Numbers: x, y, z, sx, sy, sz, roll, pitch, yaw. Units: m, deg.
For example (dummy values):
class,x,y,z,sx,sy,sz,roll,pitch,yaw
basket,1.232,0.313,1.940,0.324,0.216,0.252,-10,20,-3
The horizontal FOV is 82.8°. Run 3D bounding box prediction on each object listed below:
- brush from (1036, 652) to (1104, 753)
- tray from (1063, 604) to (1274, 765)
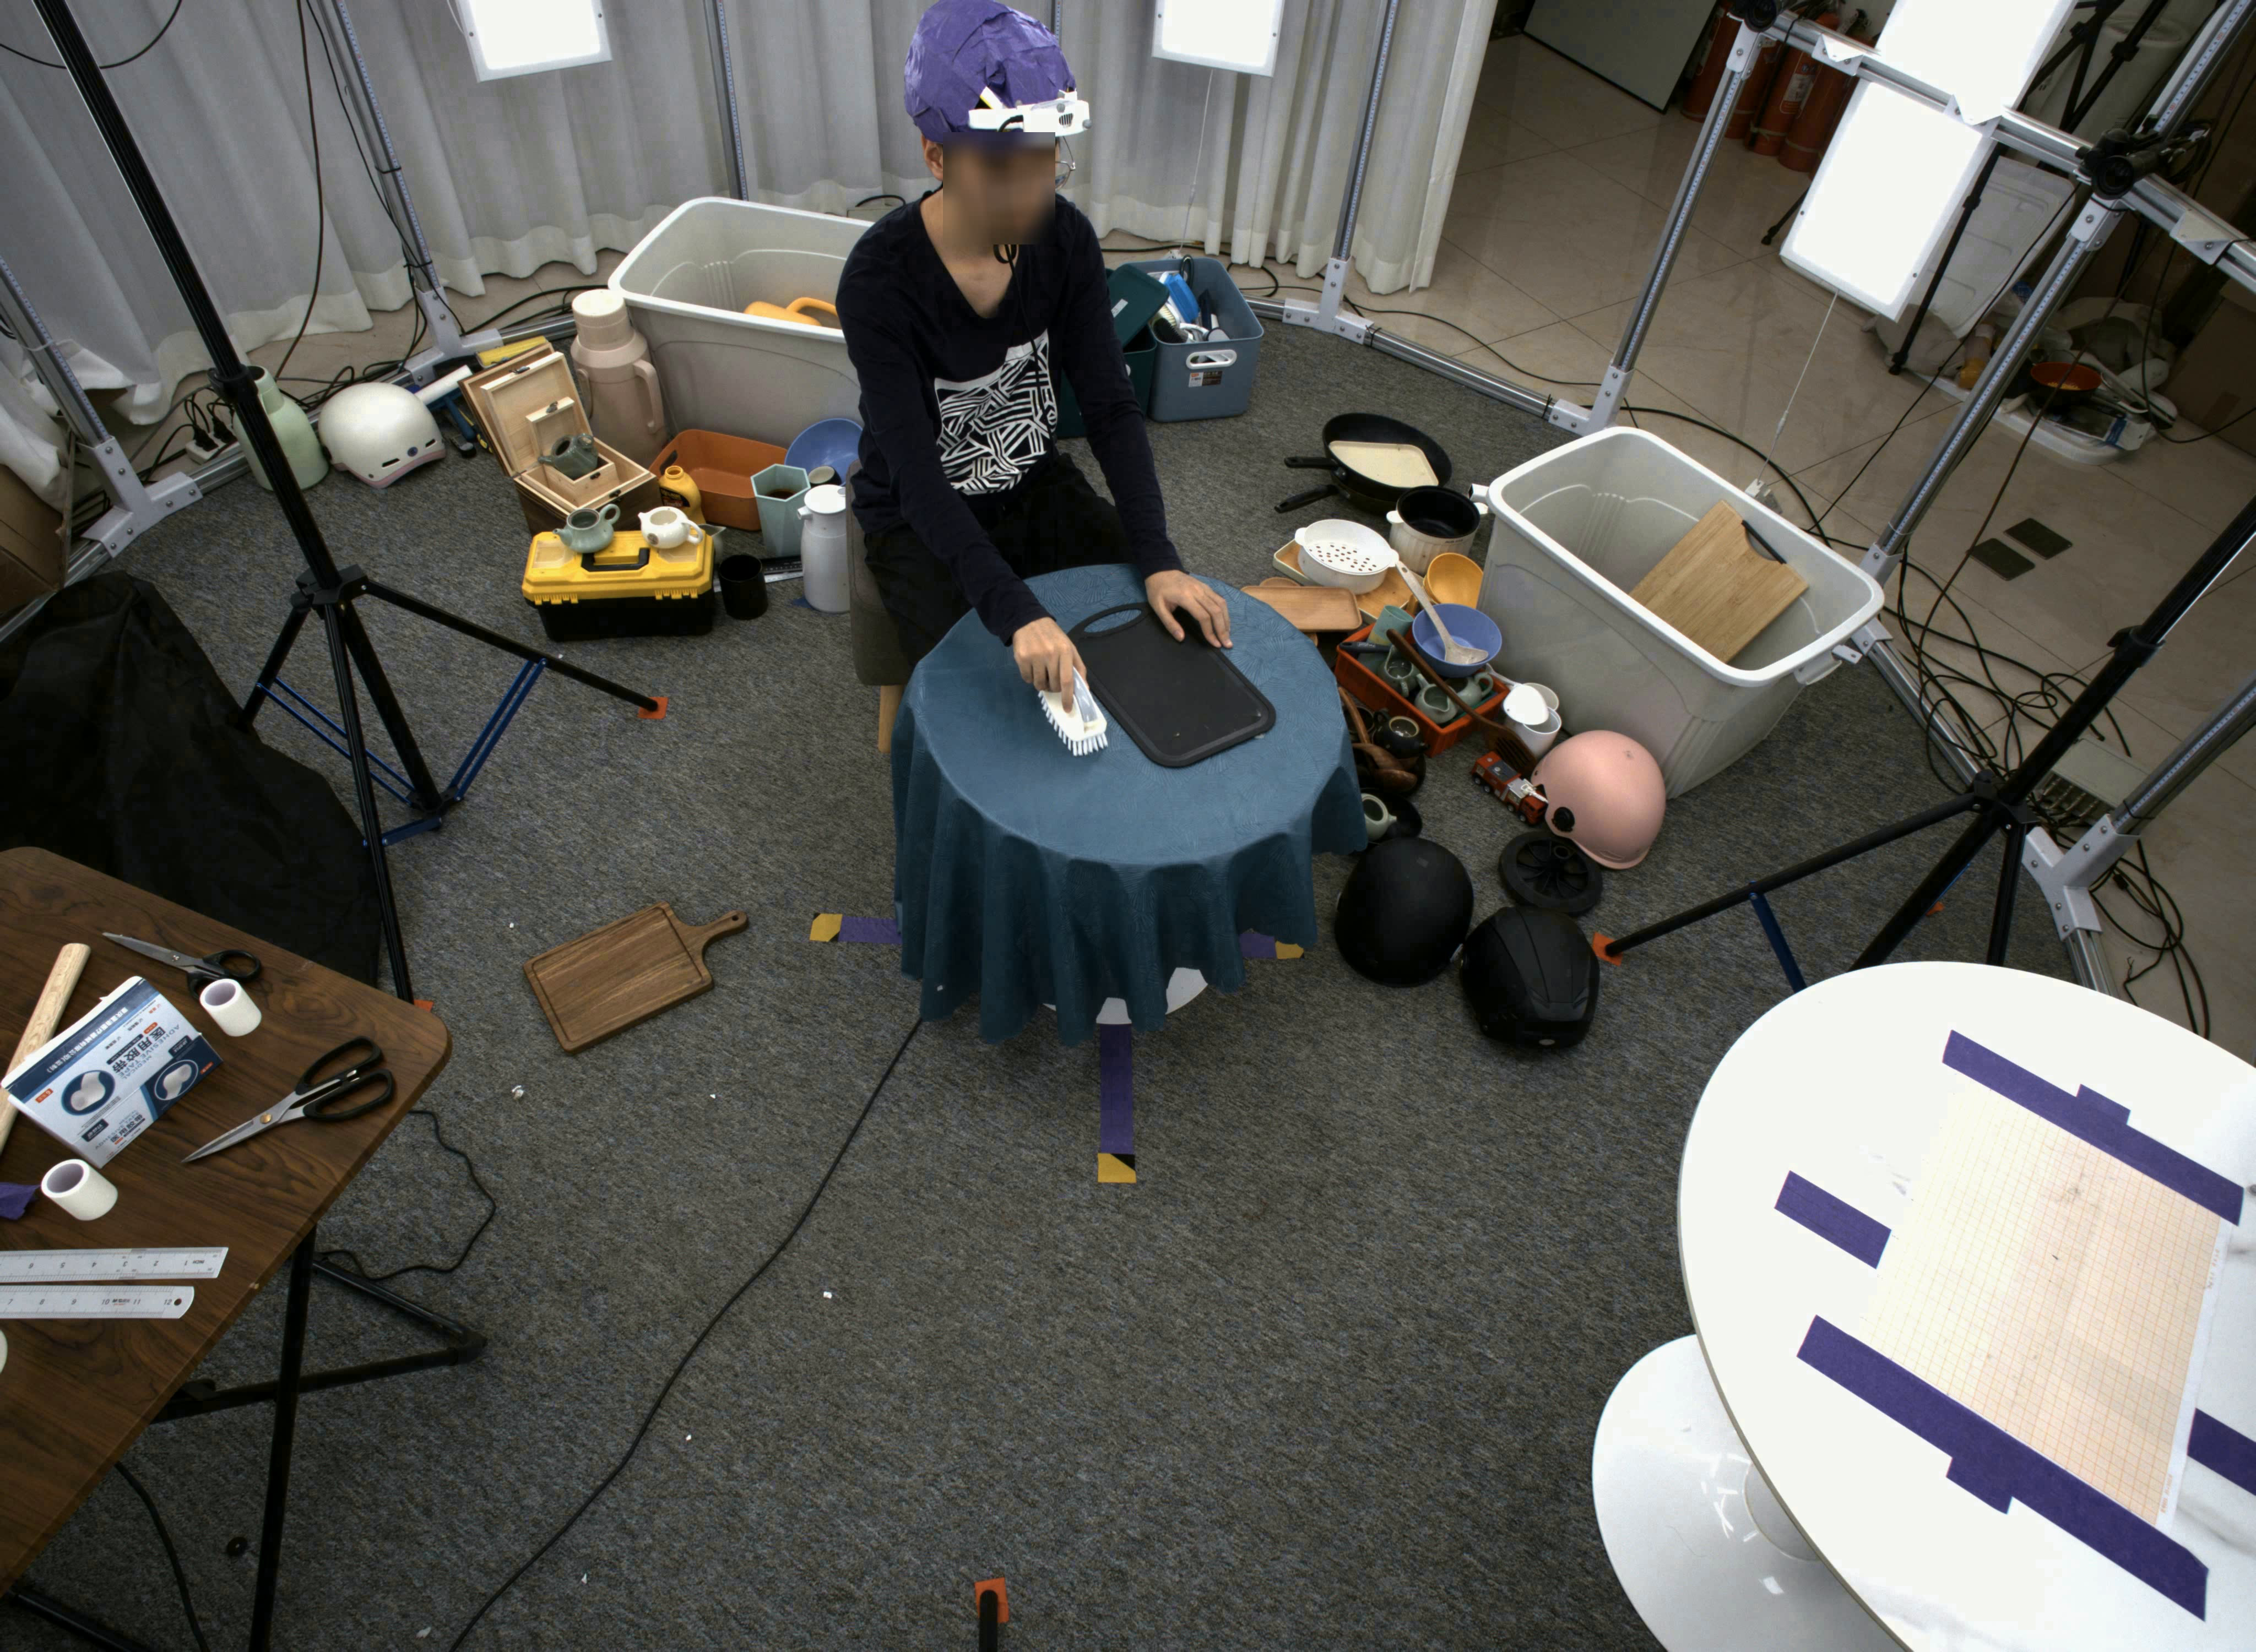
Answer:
class,x,y,z,sx,sy,sz,roll,pitch,yaw
brush,-0.088,-0.187,1.765,0.061,0.092,0.179,-17,50,-19
tray,0.051,-0.216,1.854,0.212,0.009,0.332,-22,53,-22
